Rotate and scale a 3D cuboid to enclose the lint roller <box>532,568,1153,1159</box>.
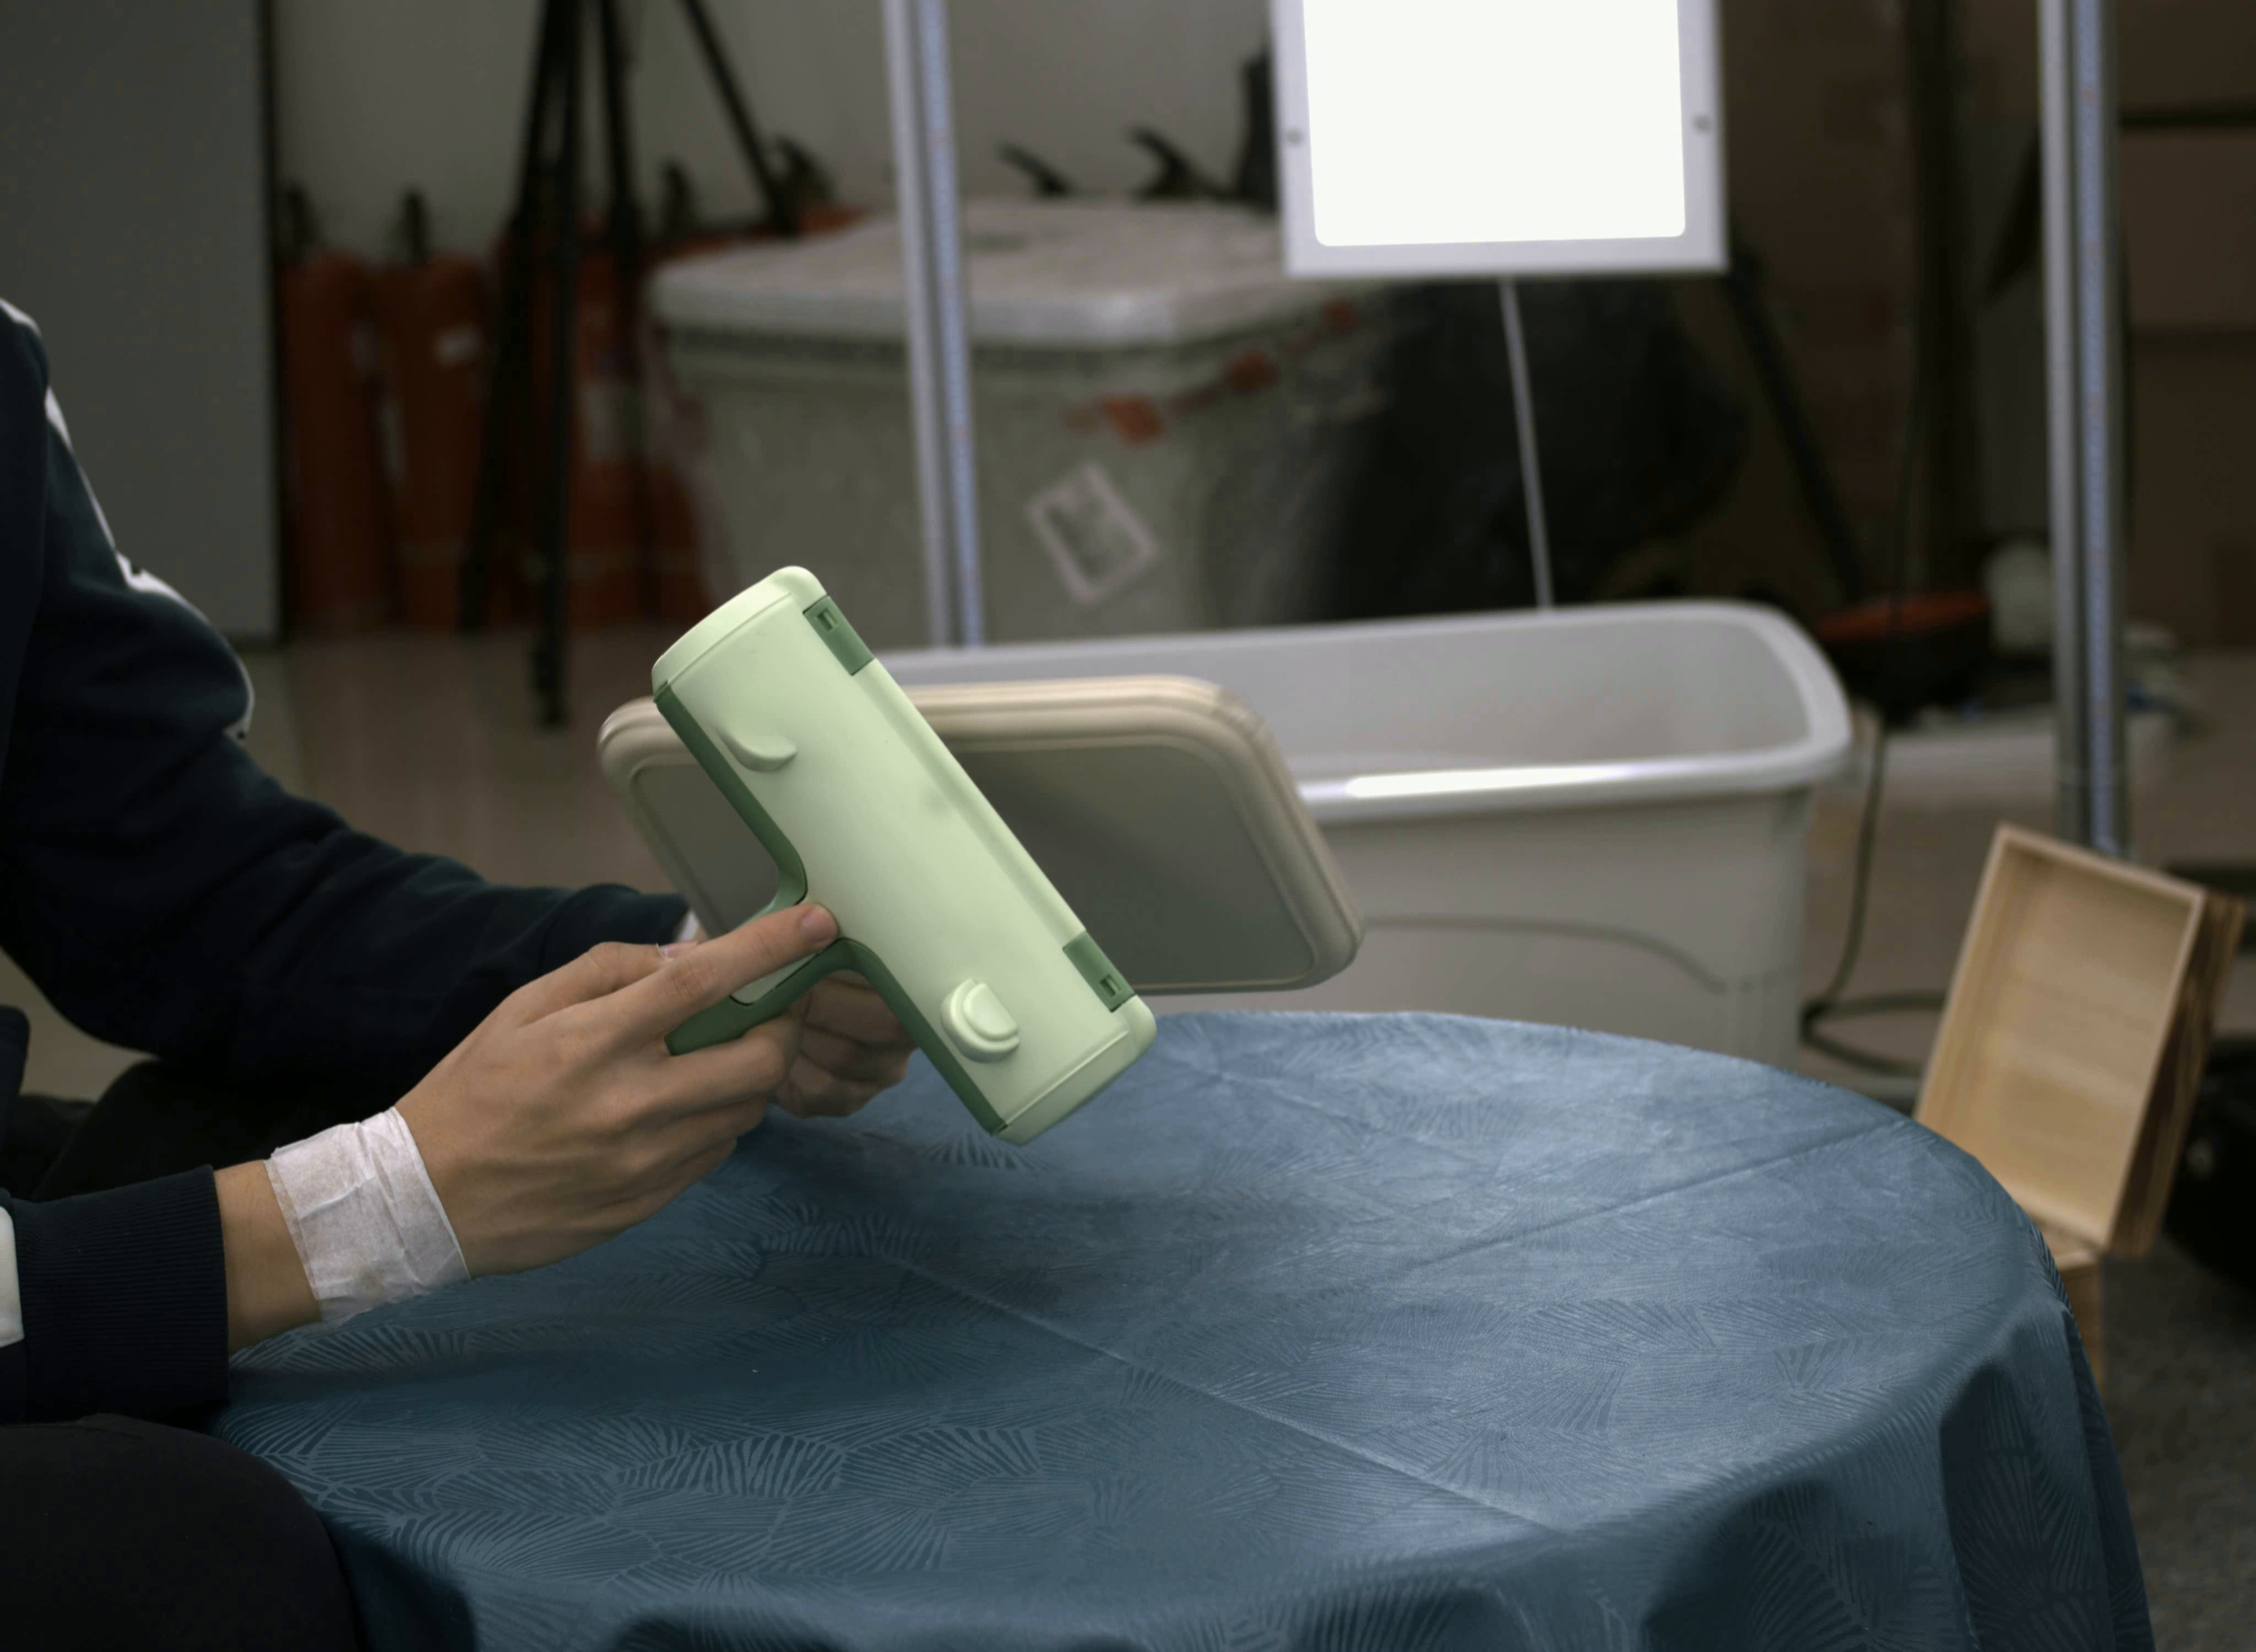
[{"bbox_3d":[-0.119,0.047,1.748,0.183,0.199,0.082,-38,-3,3],"label":"lint roller"}]

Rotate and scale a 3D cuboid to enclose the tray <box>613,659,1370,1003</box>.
[{"bbox_3d":[-0.046,0.007,1.853,0.243,0.170,0.017,-1,51,22],"label":"tray"}]
